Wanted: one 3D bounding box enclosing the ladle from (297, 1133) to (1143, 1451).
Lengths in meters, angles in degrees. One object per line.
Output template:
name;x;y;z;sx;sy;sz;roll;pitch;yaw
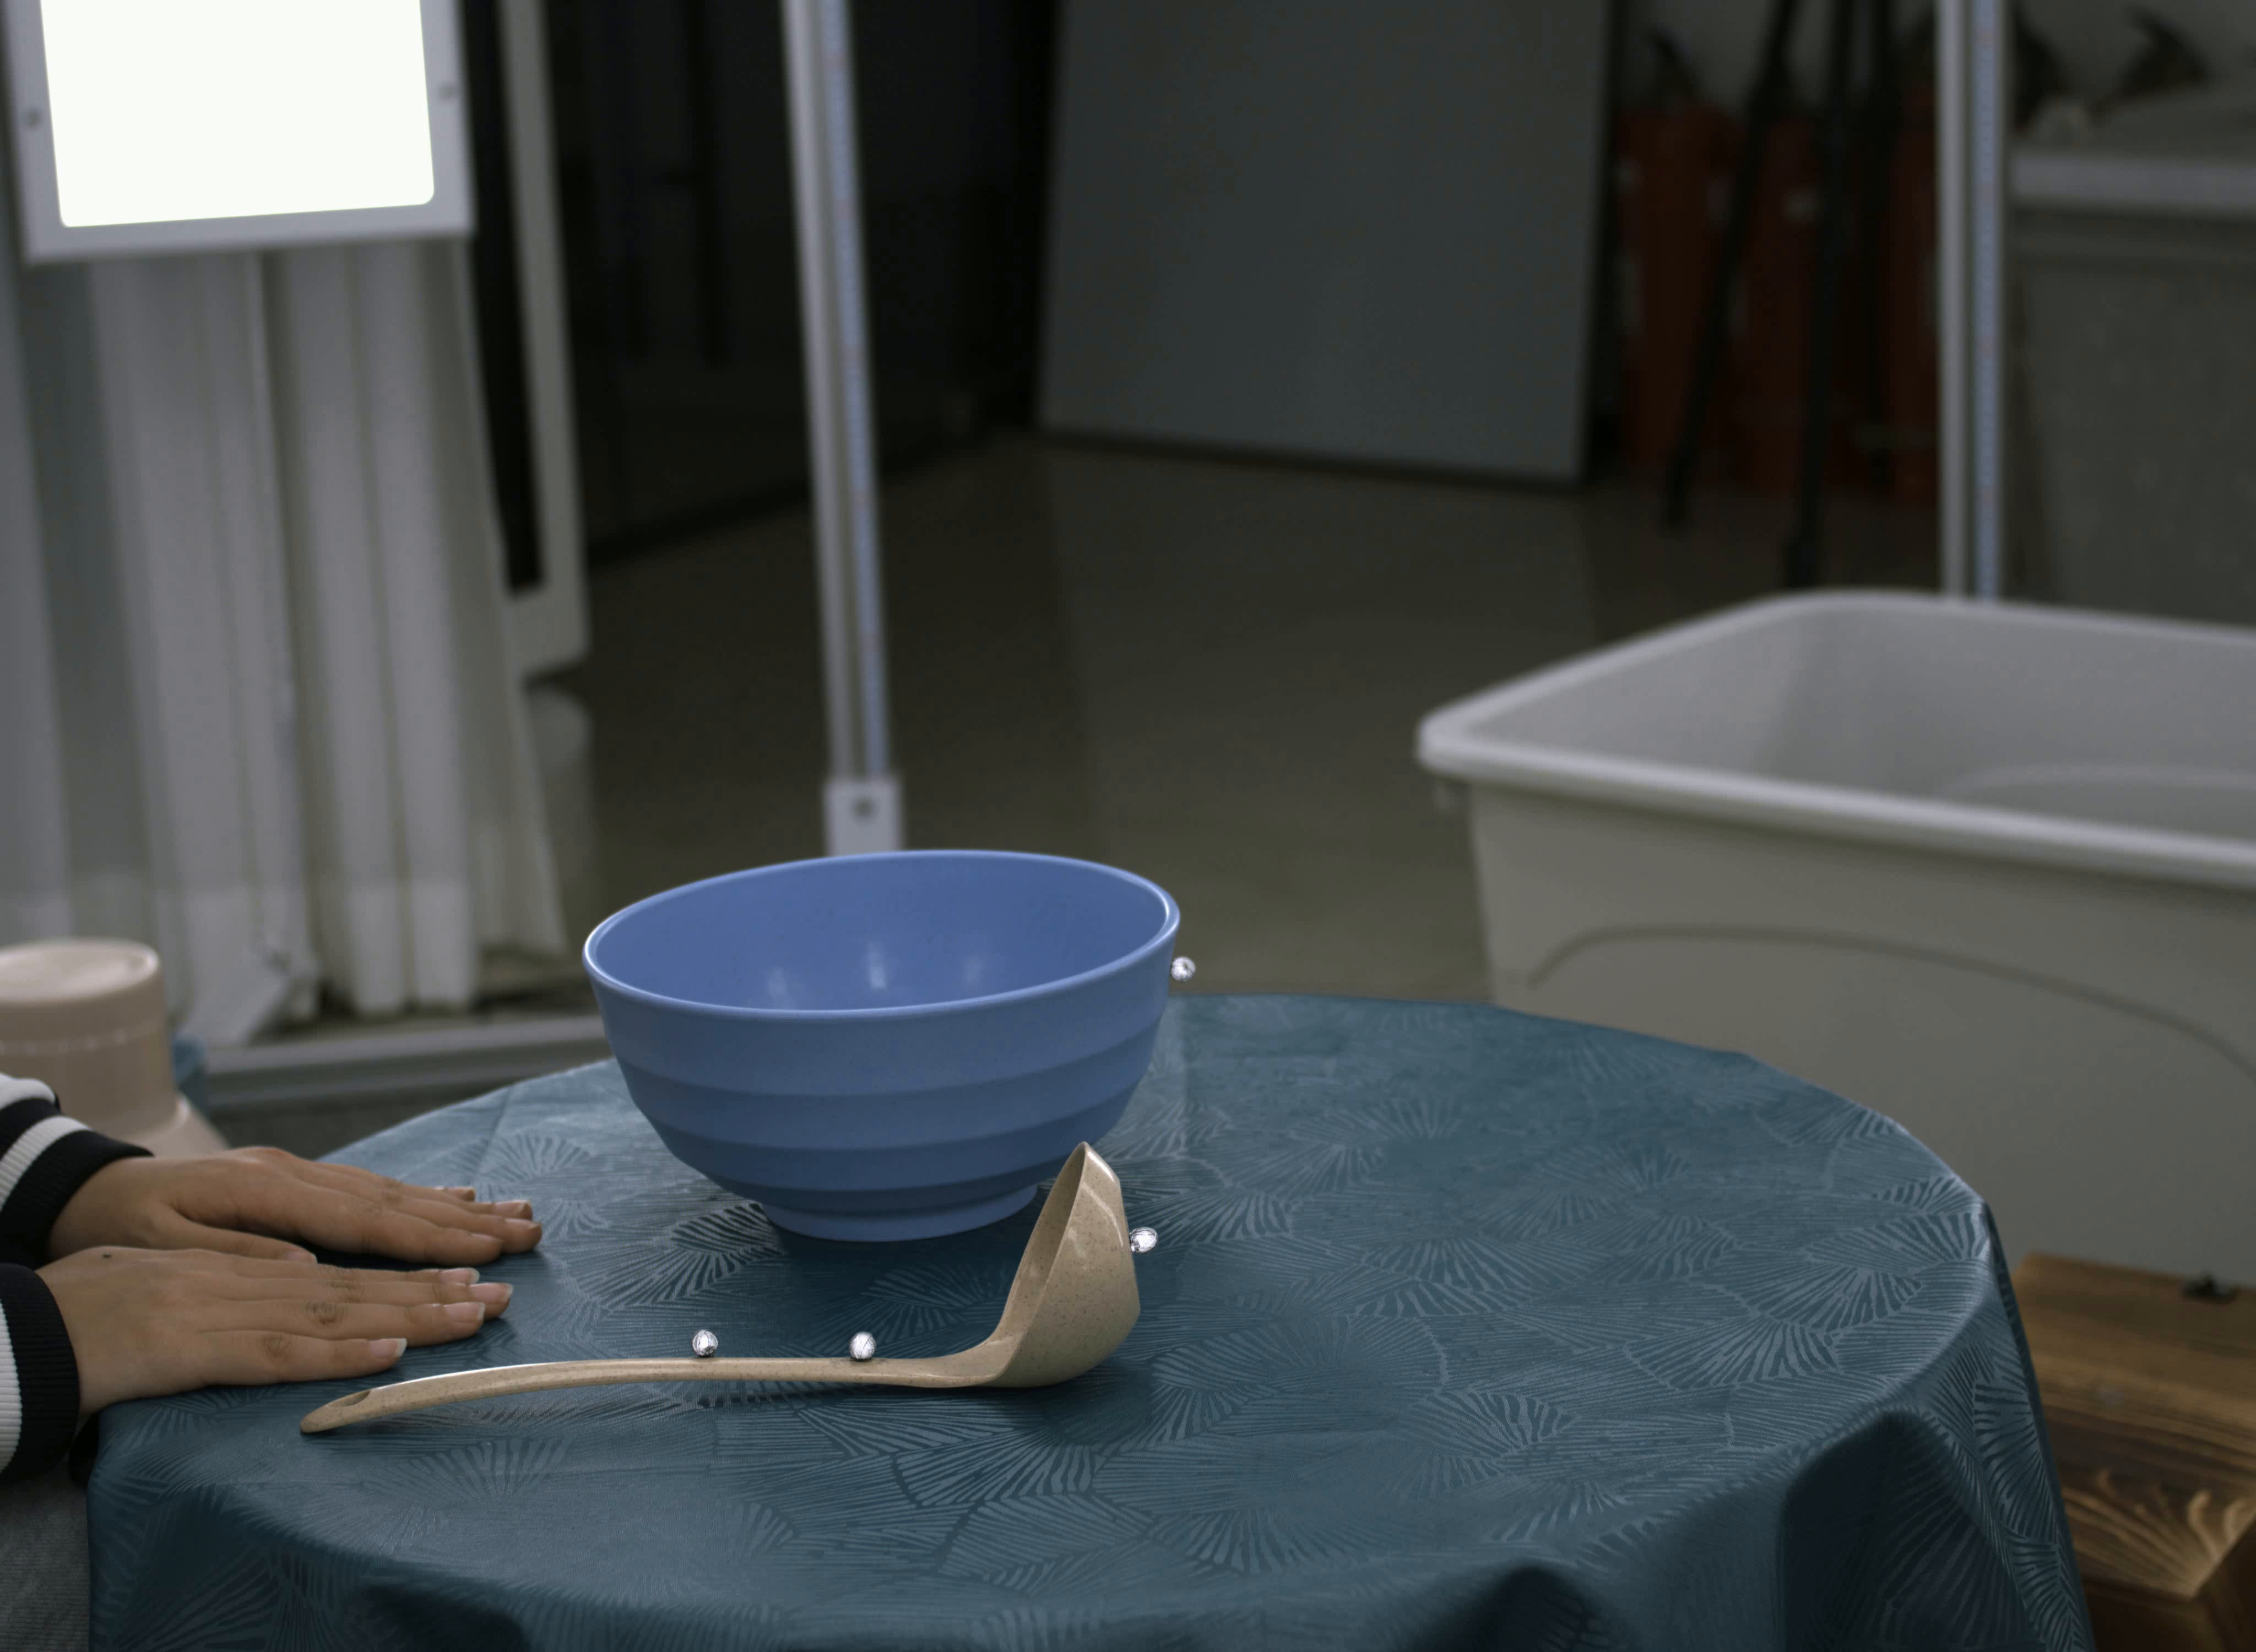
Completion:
ladle;-0.122;0.137;1.590;0.251;0.073;0.072;-5;13;-2

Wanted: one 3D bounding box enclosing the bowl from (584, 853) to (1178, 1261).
bowl;-0.077;0.082;1.769;0.194;0.096;0.197;-5;15;0
